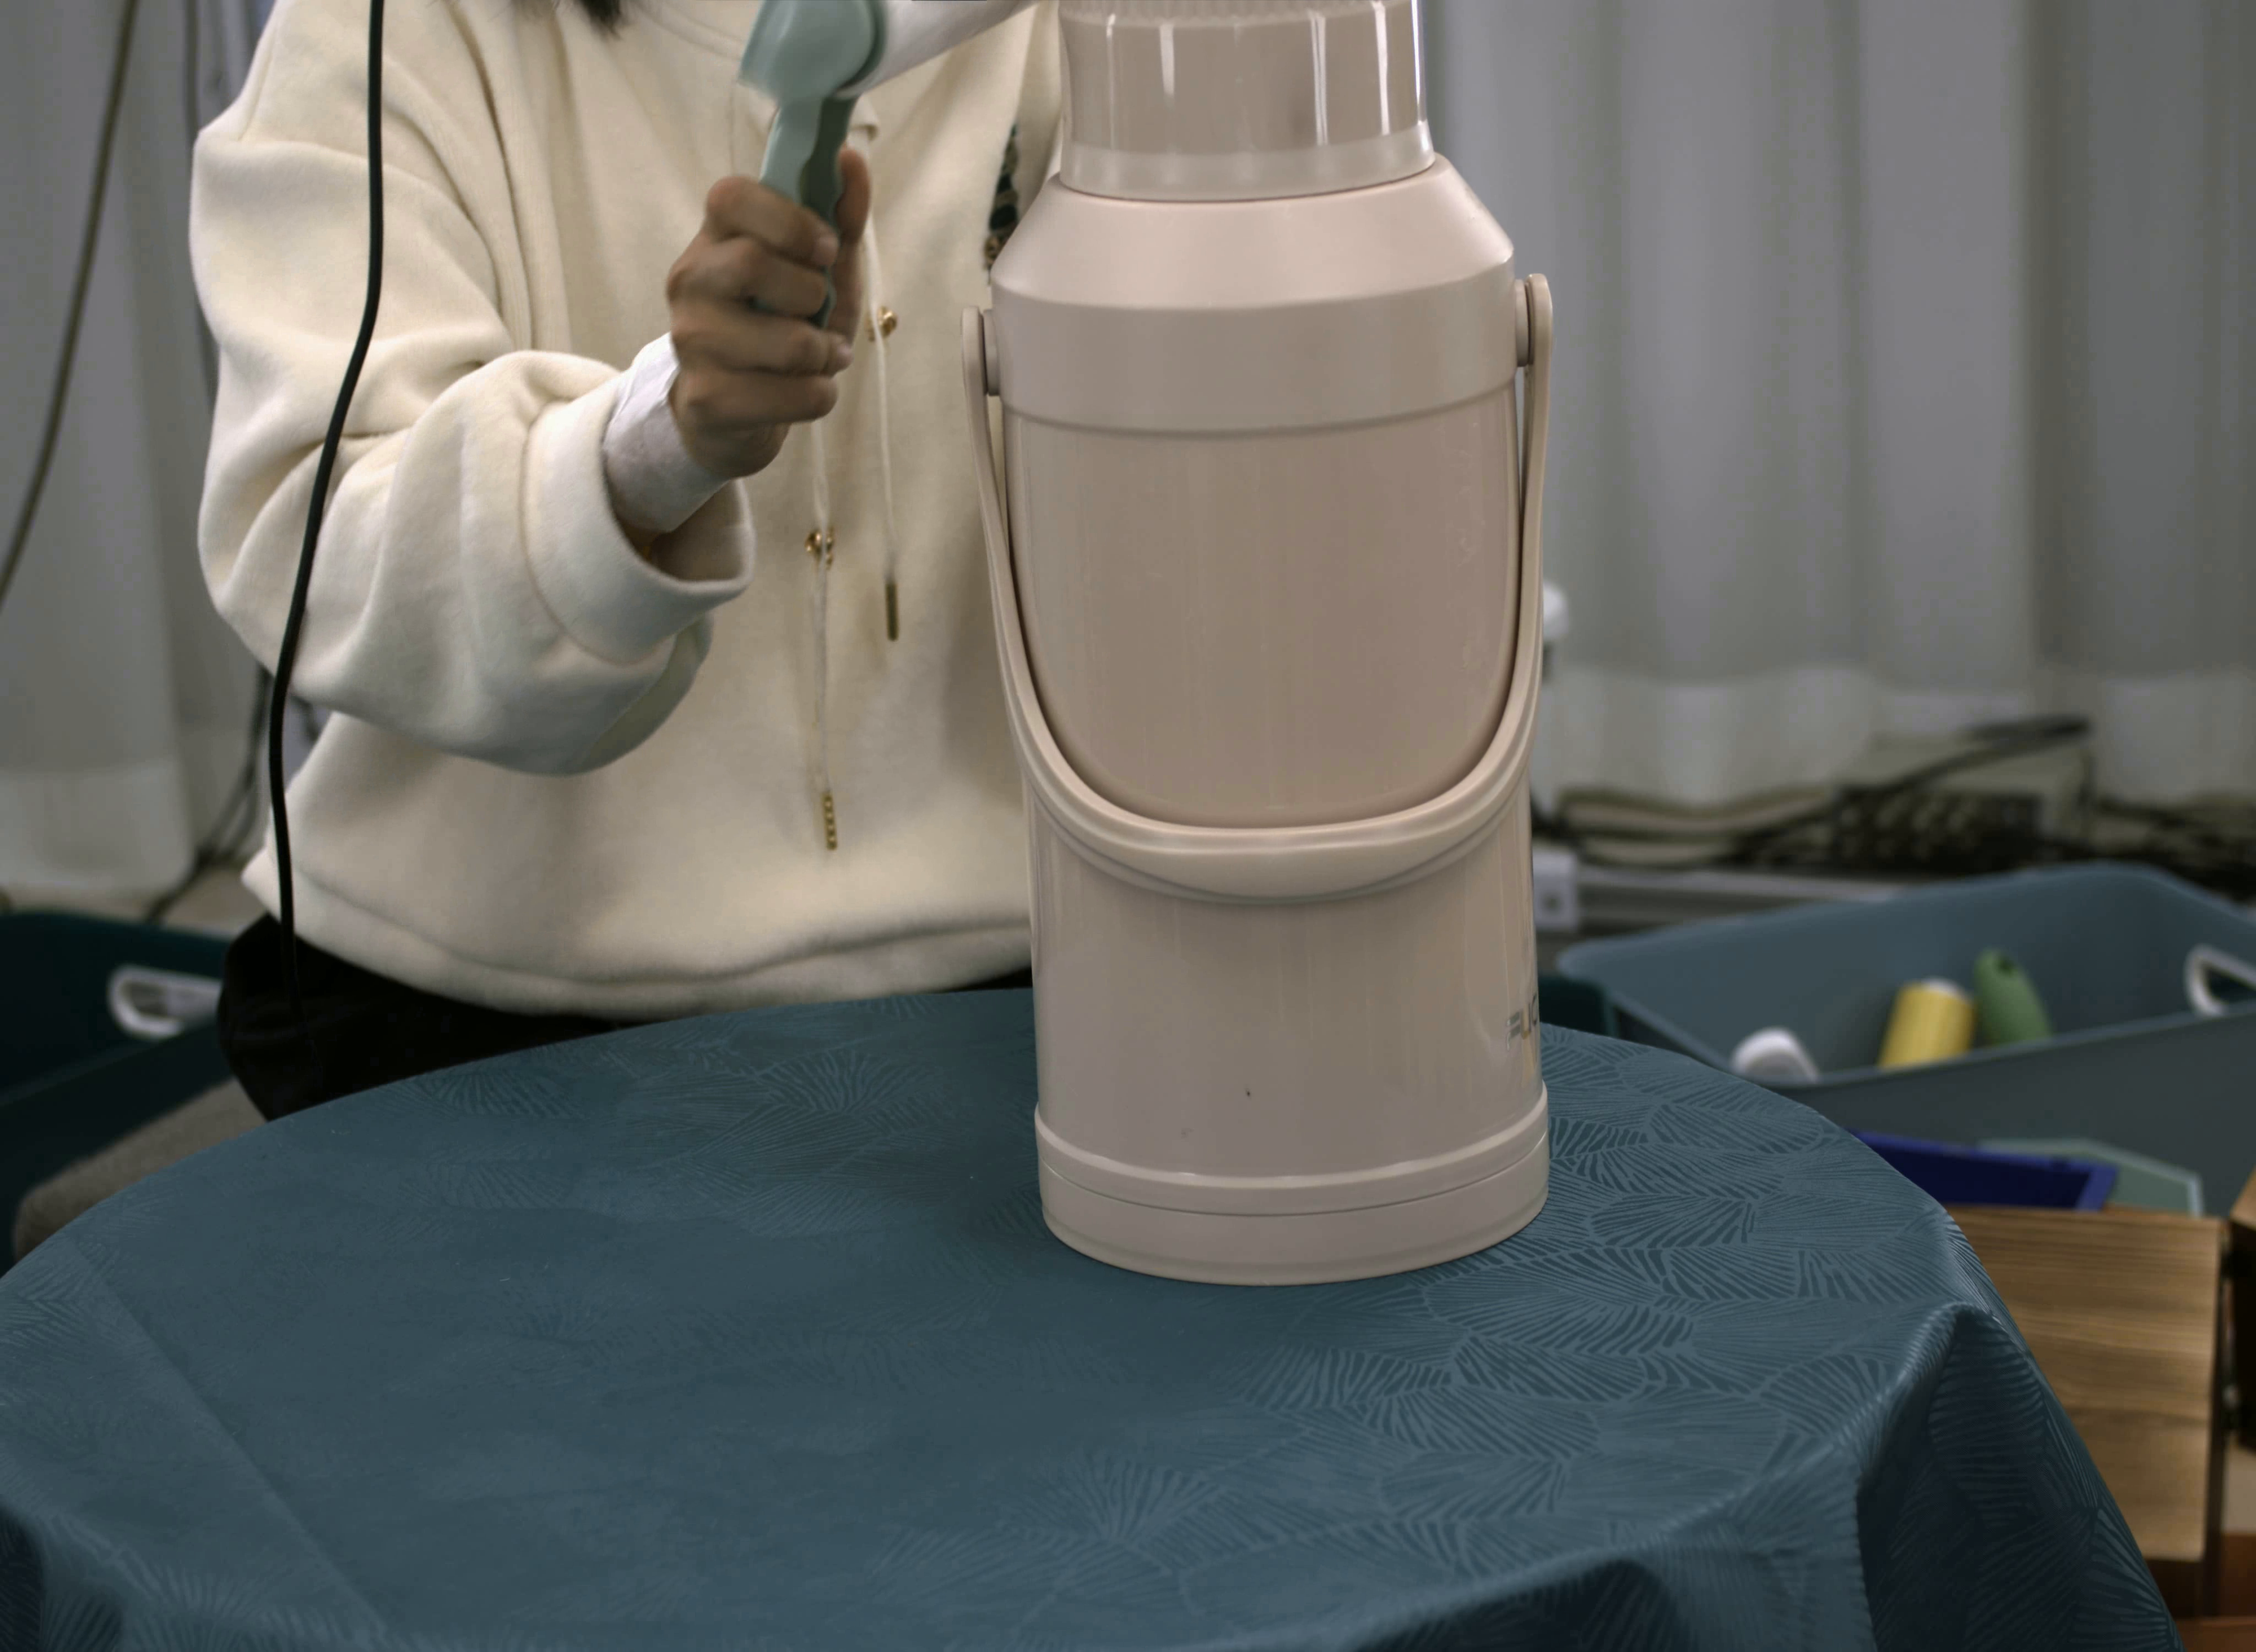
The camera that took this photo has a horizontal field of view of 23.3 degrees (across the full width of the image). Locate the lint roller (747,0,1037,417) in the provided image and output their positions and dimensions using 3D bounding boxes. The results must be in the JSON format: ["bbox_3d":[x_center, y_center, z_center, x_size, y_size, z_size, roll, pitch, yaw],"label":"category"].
[{"bbox_3d":[-0.085,-0.209,1.690,0.049,0.196,0.117,39,42,10],"label":"lint roller"}]

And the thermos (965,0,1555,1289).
[{"bbox_3d":[0.043,-0.078,1.663,0.175,0.405,0.208,-3,14,0],"label":"thermos"}]
